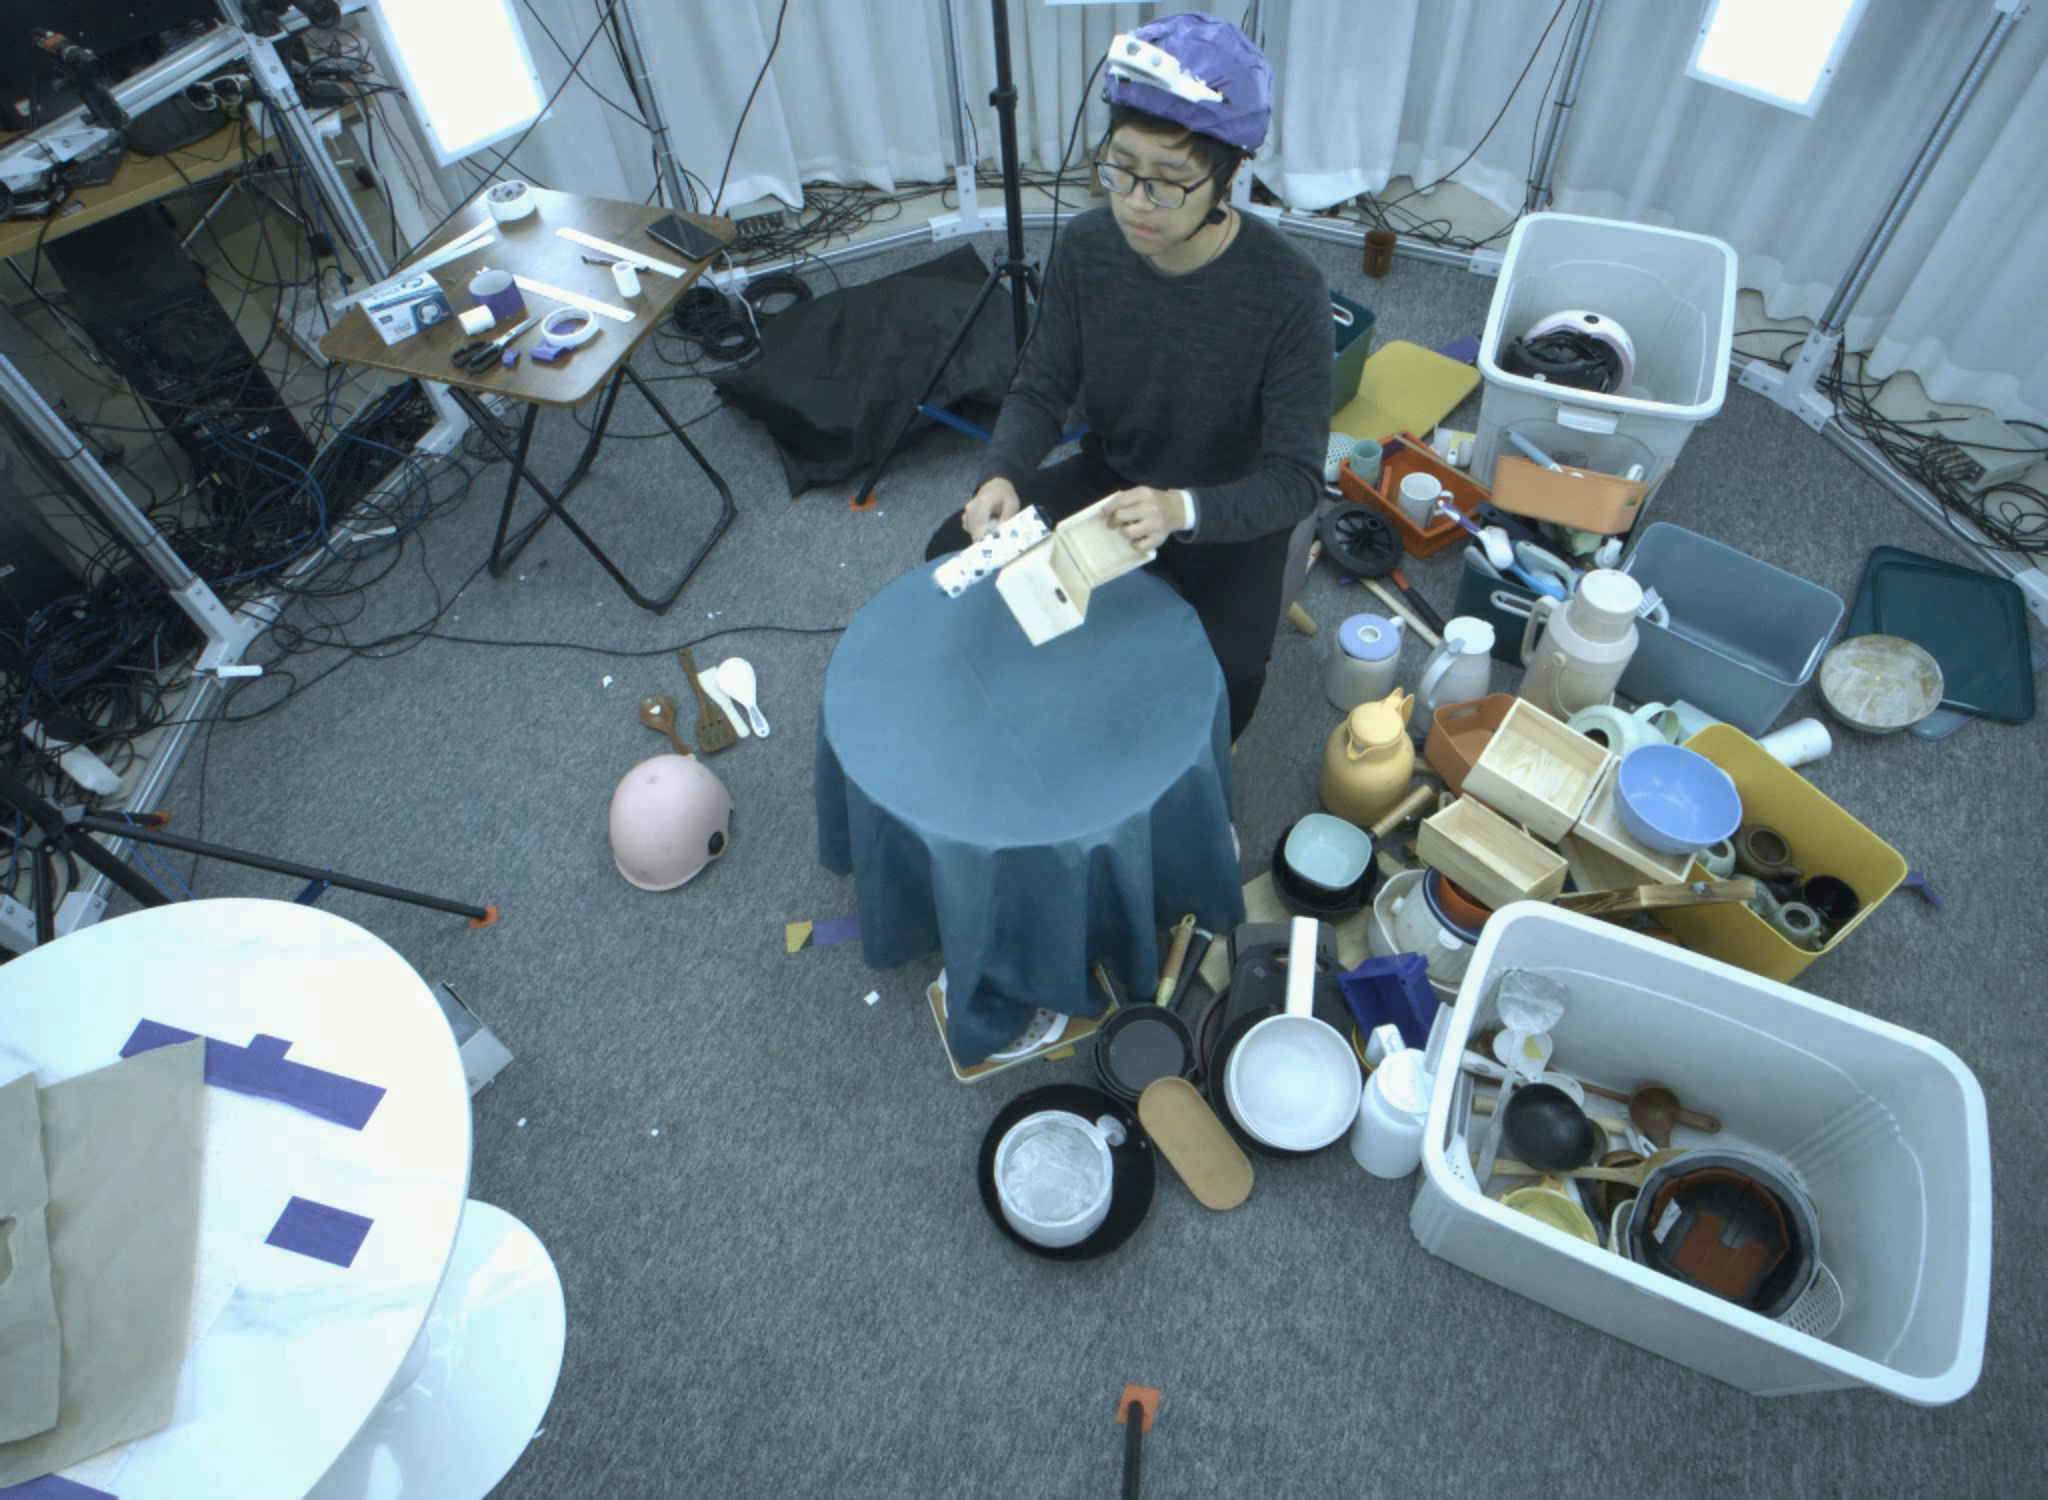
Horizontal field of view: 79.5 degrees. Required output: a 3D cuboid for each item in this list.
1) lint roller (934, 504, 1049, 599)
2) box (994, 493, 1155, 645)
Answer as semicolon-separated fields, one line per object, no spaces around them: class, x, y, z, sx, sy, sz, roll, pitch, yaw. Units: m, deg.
lint roller;-0.050;-0.305;1.745;0.175;0.051;0.244;-33;21;10
box;0.070;-0.243;1.649;0.182;0.104;0.133;-22;28;21
